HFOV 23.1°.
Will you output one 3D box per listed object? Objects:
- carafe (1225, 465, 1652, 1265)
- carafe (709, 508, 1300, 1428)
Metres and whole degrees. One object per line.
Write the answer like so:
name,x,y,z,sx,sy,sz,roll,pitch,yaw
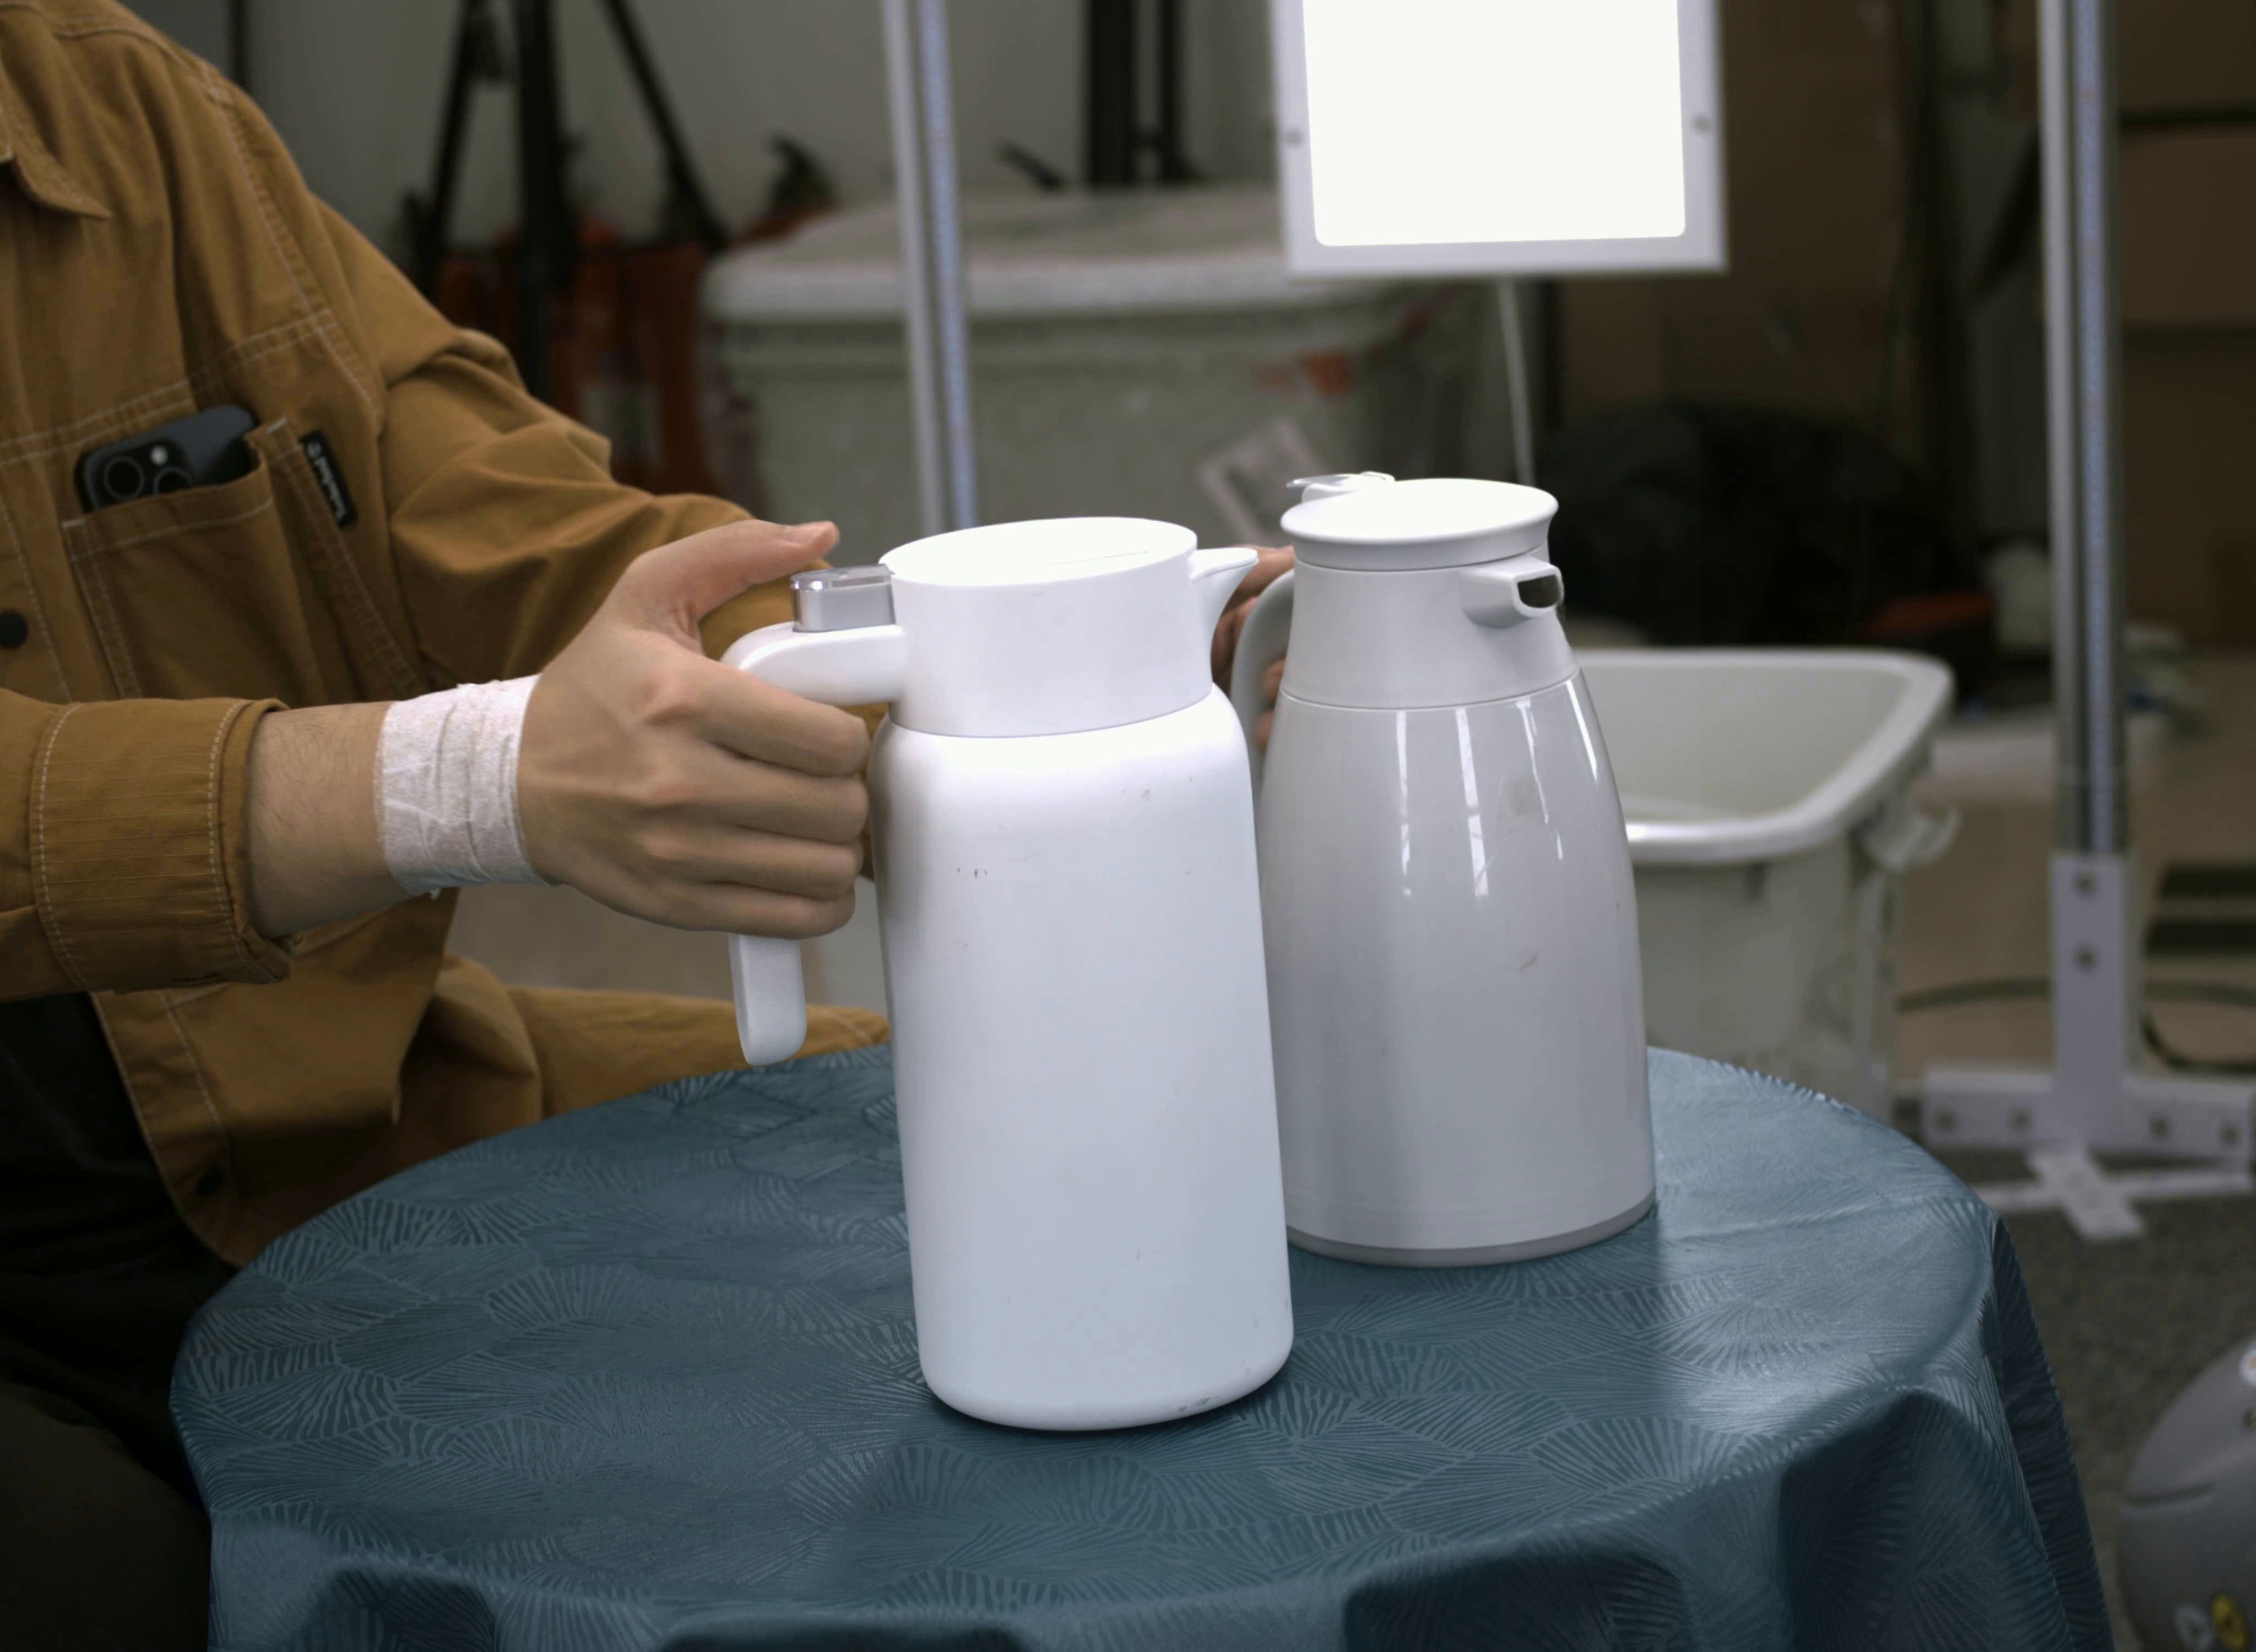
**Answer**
carafe,0.091,0.005,1.837,0.129,0.249,0.171,-13,15,-32
carafe,-0.032,0.045,1.680,0.171,0.270,0.124,-8,16,-9
